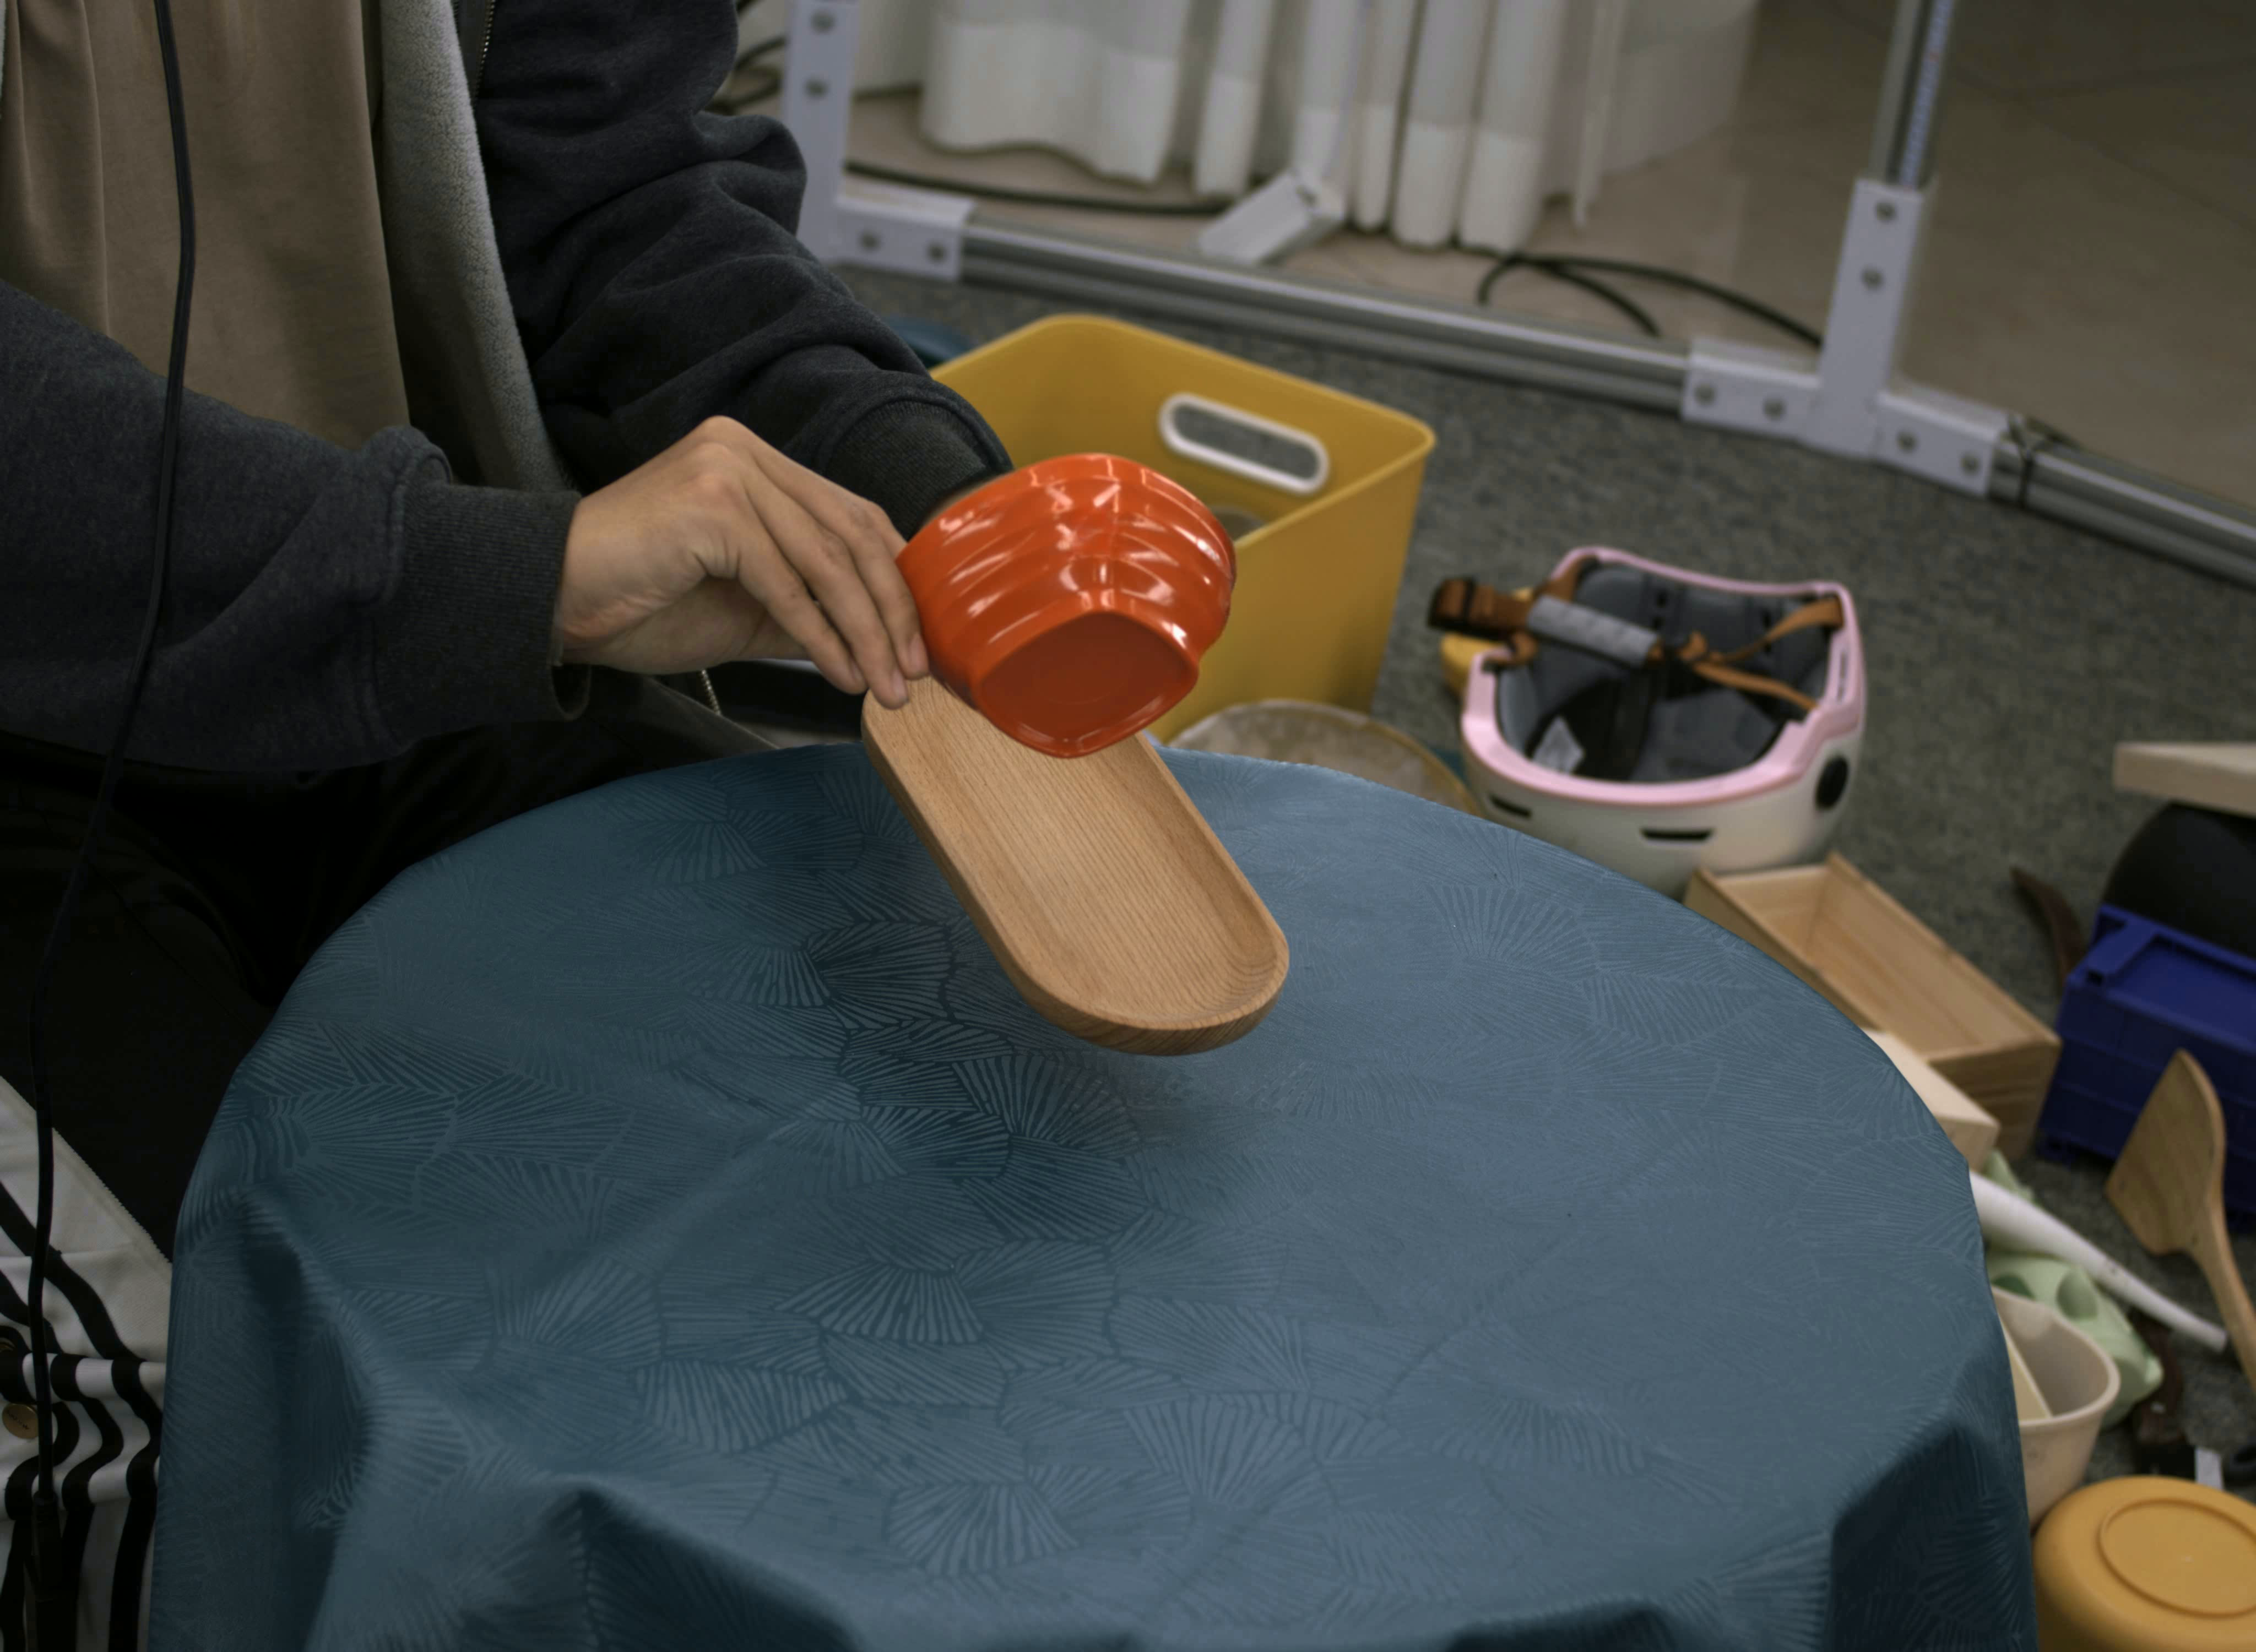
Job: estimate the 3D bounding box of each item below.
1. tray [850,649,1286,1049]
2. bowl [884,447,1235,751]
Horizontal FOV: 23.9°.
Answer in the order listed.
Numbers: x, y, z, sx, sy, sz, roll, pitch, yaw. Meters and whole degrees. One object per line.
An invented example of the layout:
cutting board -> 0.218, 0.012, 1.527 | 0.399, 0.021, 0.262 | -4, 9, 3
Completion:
tray -> -0.023, 0.005, 1.879 | 0.101, 0.020, 0.233 | -7, 37, -25
bowl -> -0.019, -0.067, 1.754 | 0.118, 0.118, 0.052 | -1, 53, -16
